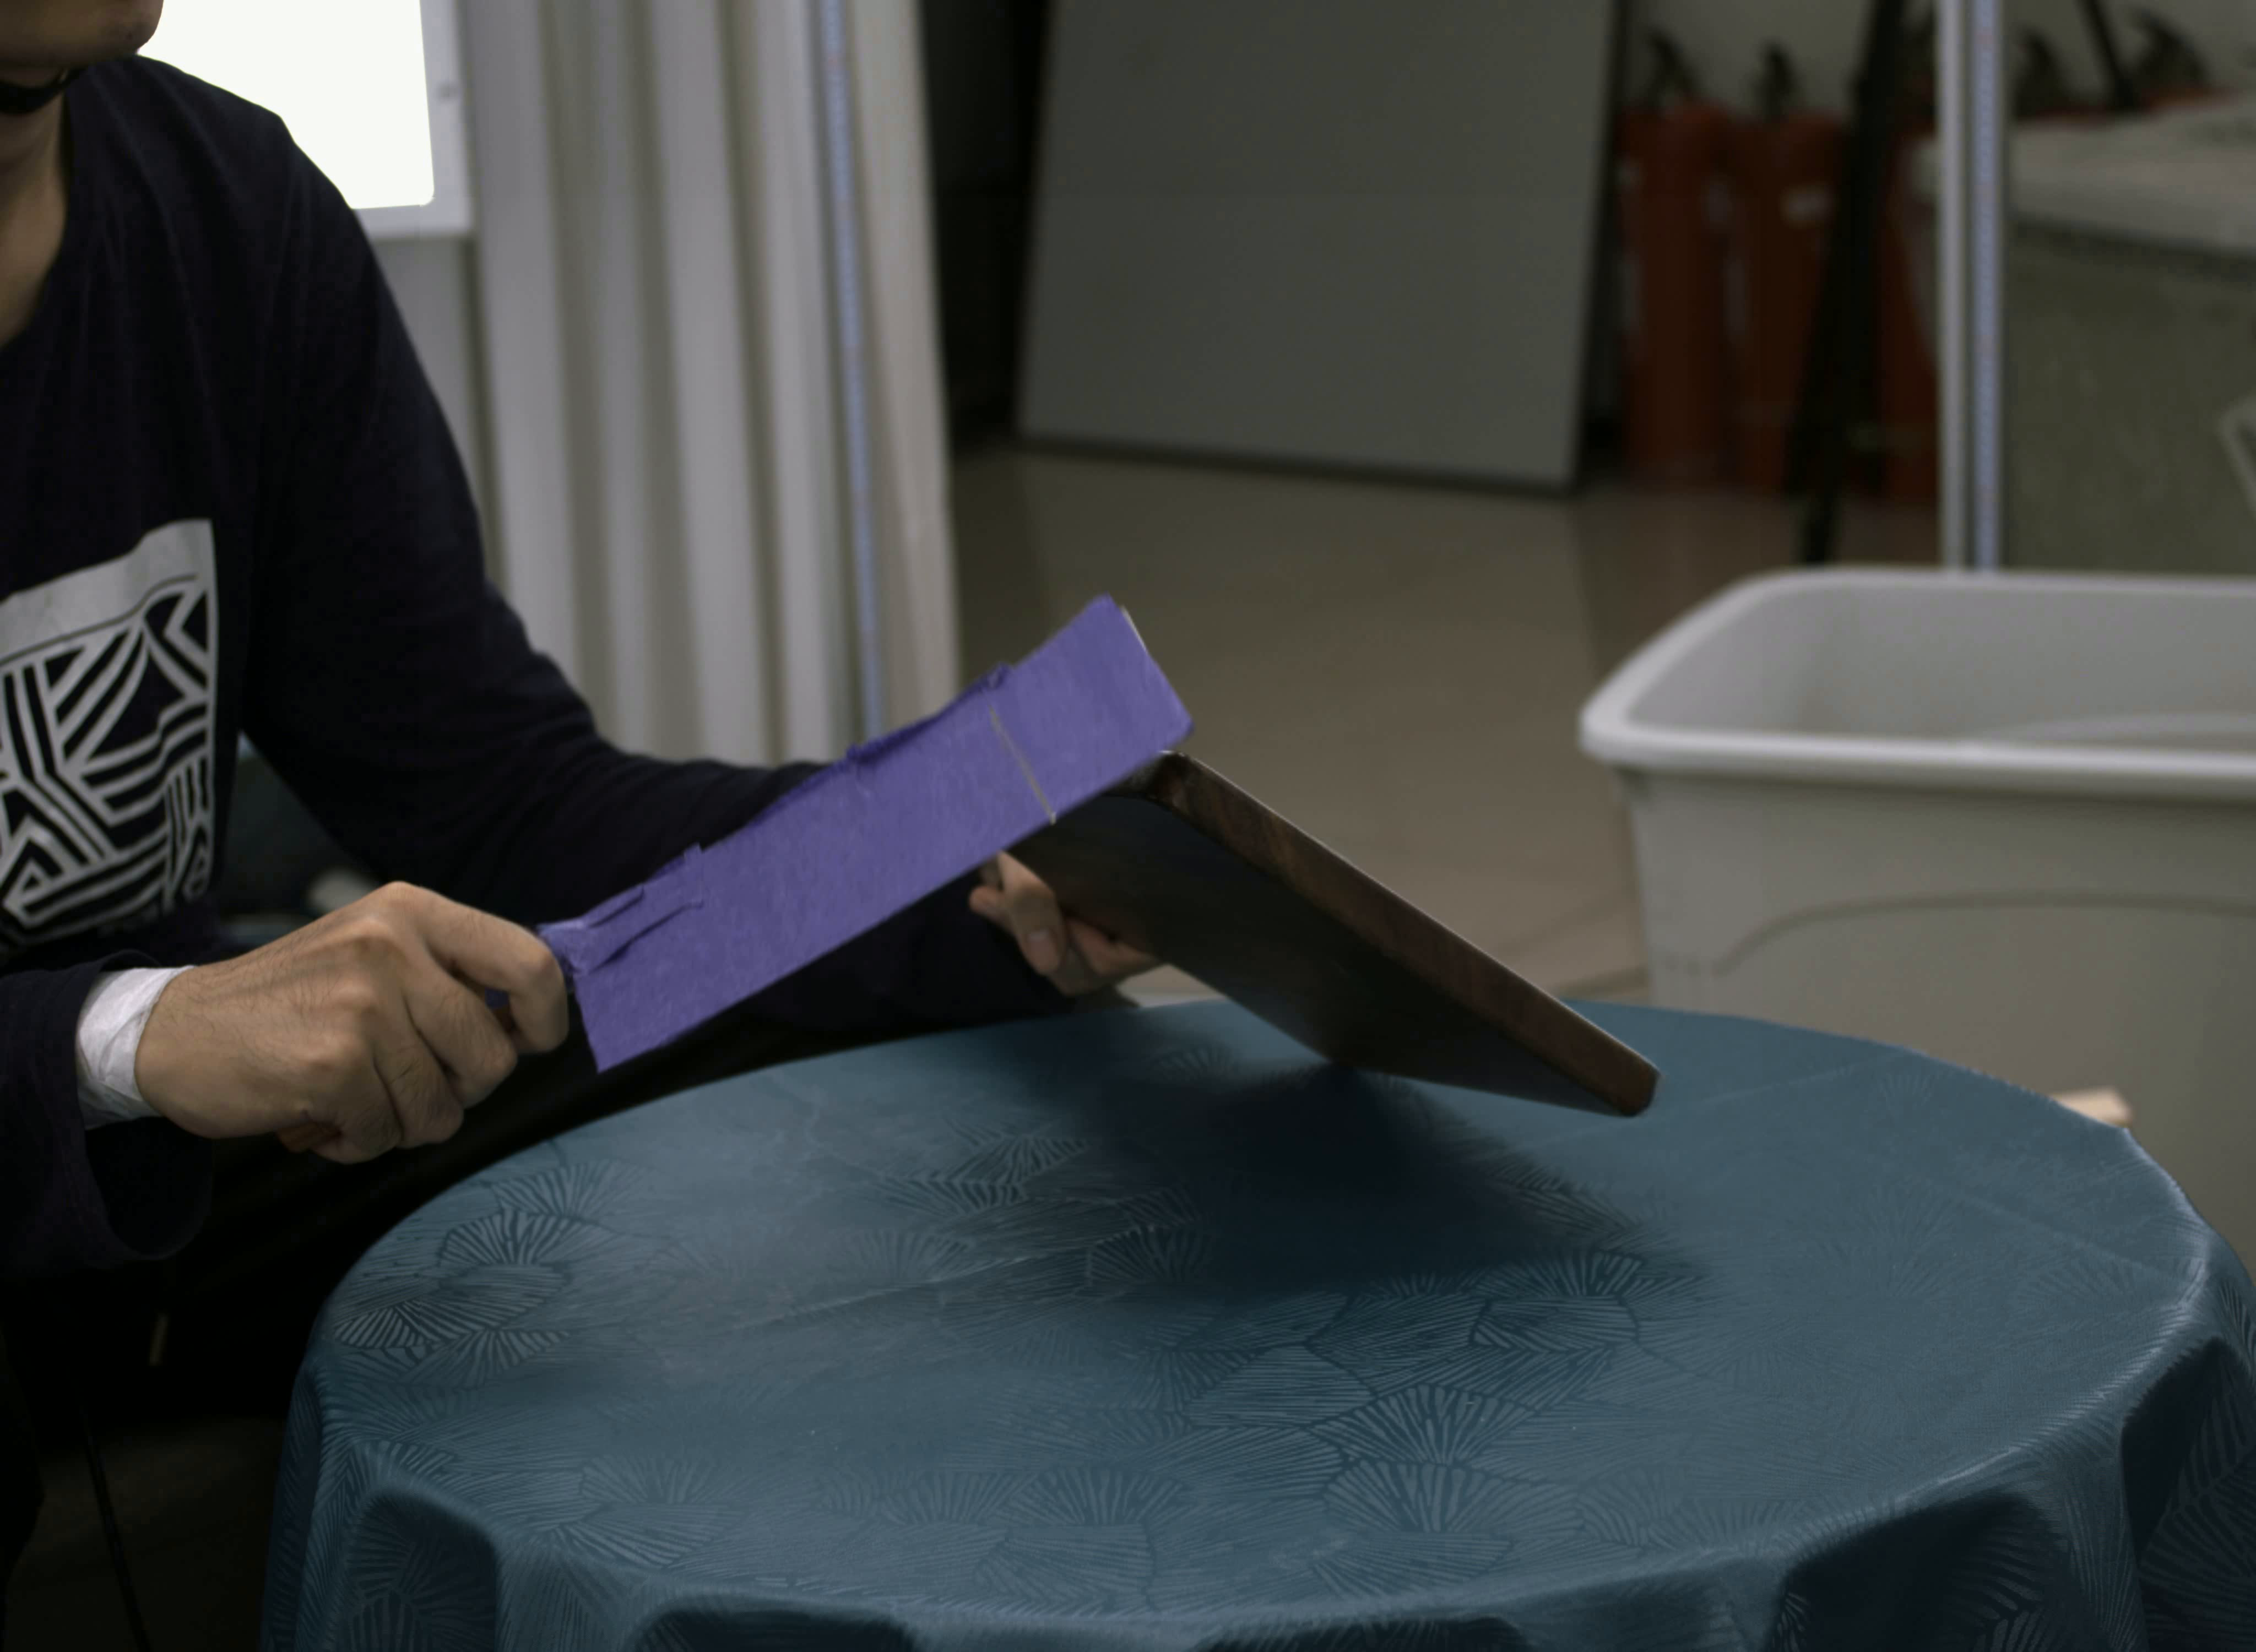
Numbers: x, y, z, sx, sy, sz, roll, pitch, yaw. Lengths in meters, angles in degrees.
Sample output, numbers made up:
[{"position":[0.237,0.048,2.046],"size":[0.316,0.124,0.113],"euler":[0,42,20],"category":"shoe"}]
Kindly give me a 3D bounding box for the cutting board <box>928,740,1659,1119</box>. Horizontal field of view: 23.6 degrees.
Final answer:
[{"position":[0.028,0.031,1.808],"size":[0.198,0.023,0.355],"euler":[34,-11,-17],"category":"cutting board"}]

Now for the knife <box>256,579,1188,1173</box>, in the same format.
[{"position":[-0.124,0.025,1.635],"size":[0.314,0.032,0.105],"euler":[-33,28,4],"category":"knife"}]
